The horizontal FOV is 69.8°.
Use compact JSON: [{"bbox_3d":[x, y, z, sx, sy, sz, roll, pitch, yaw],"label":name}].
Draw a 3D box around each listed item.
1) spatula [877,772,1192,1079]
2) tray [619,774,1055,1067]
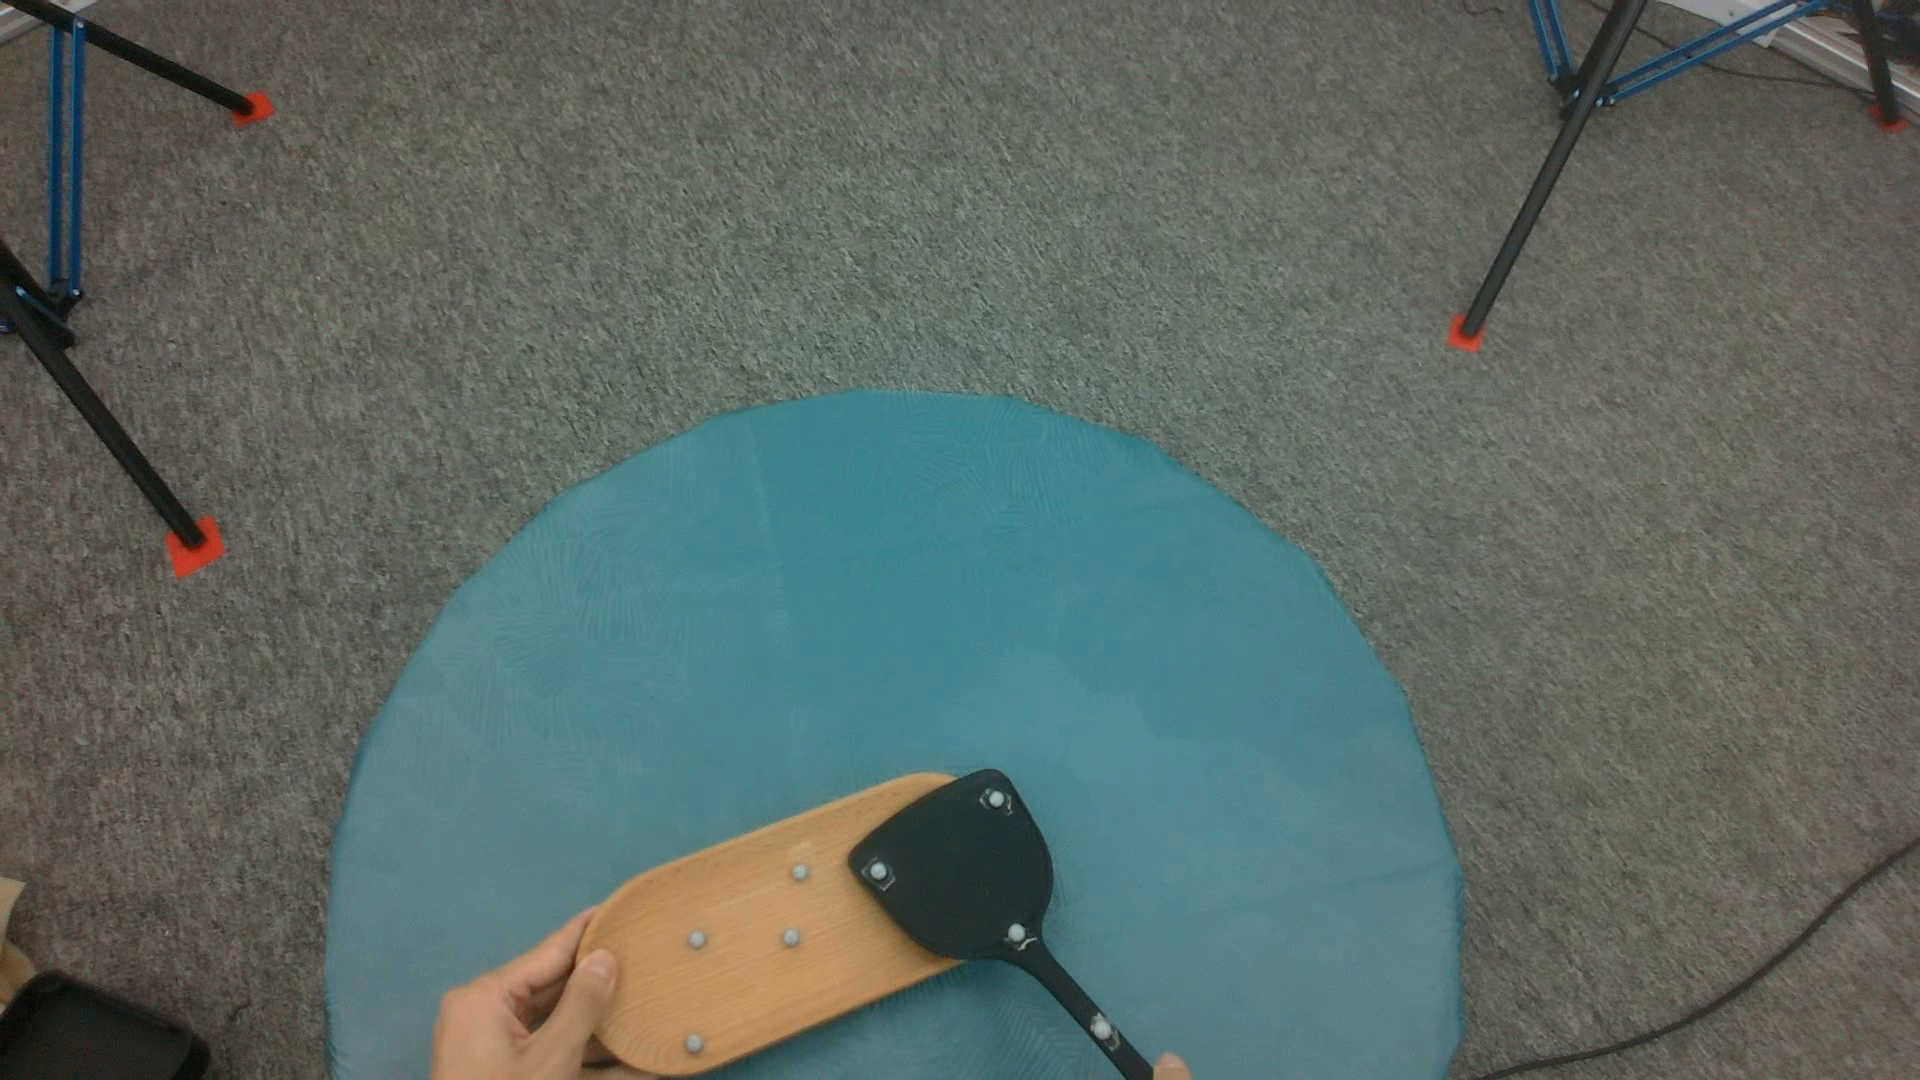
[{"bbox_3d":[0.077,0.222,0.629,0.100,0.040,0.326,-29,36,-19],"label":"spatula"},{"bbox_3d":[-0.060,0.193,0.712,0.232,0.020,0.102,-17,63,-19],"label":"tray"}]
